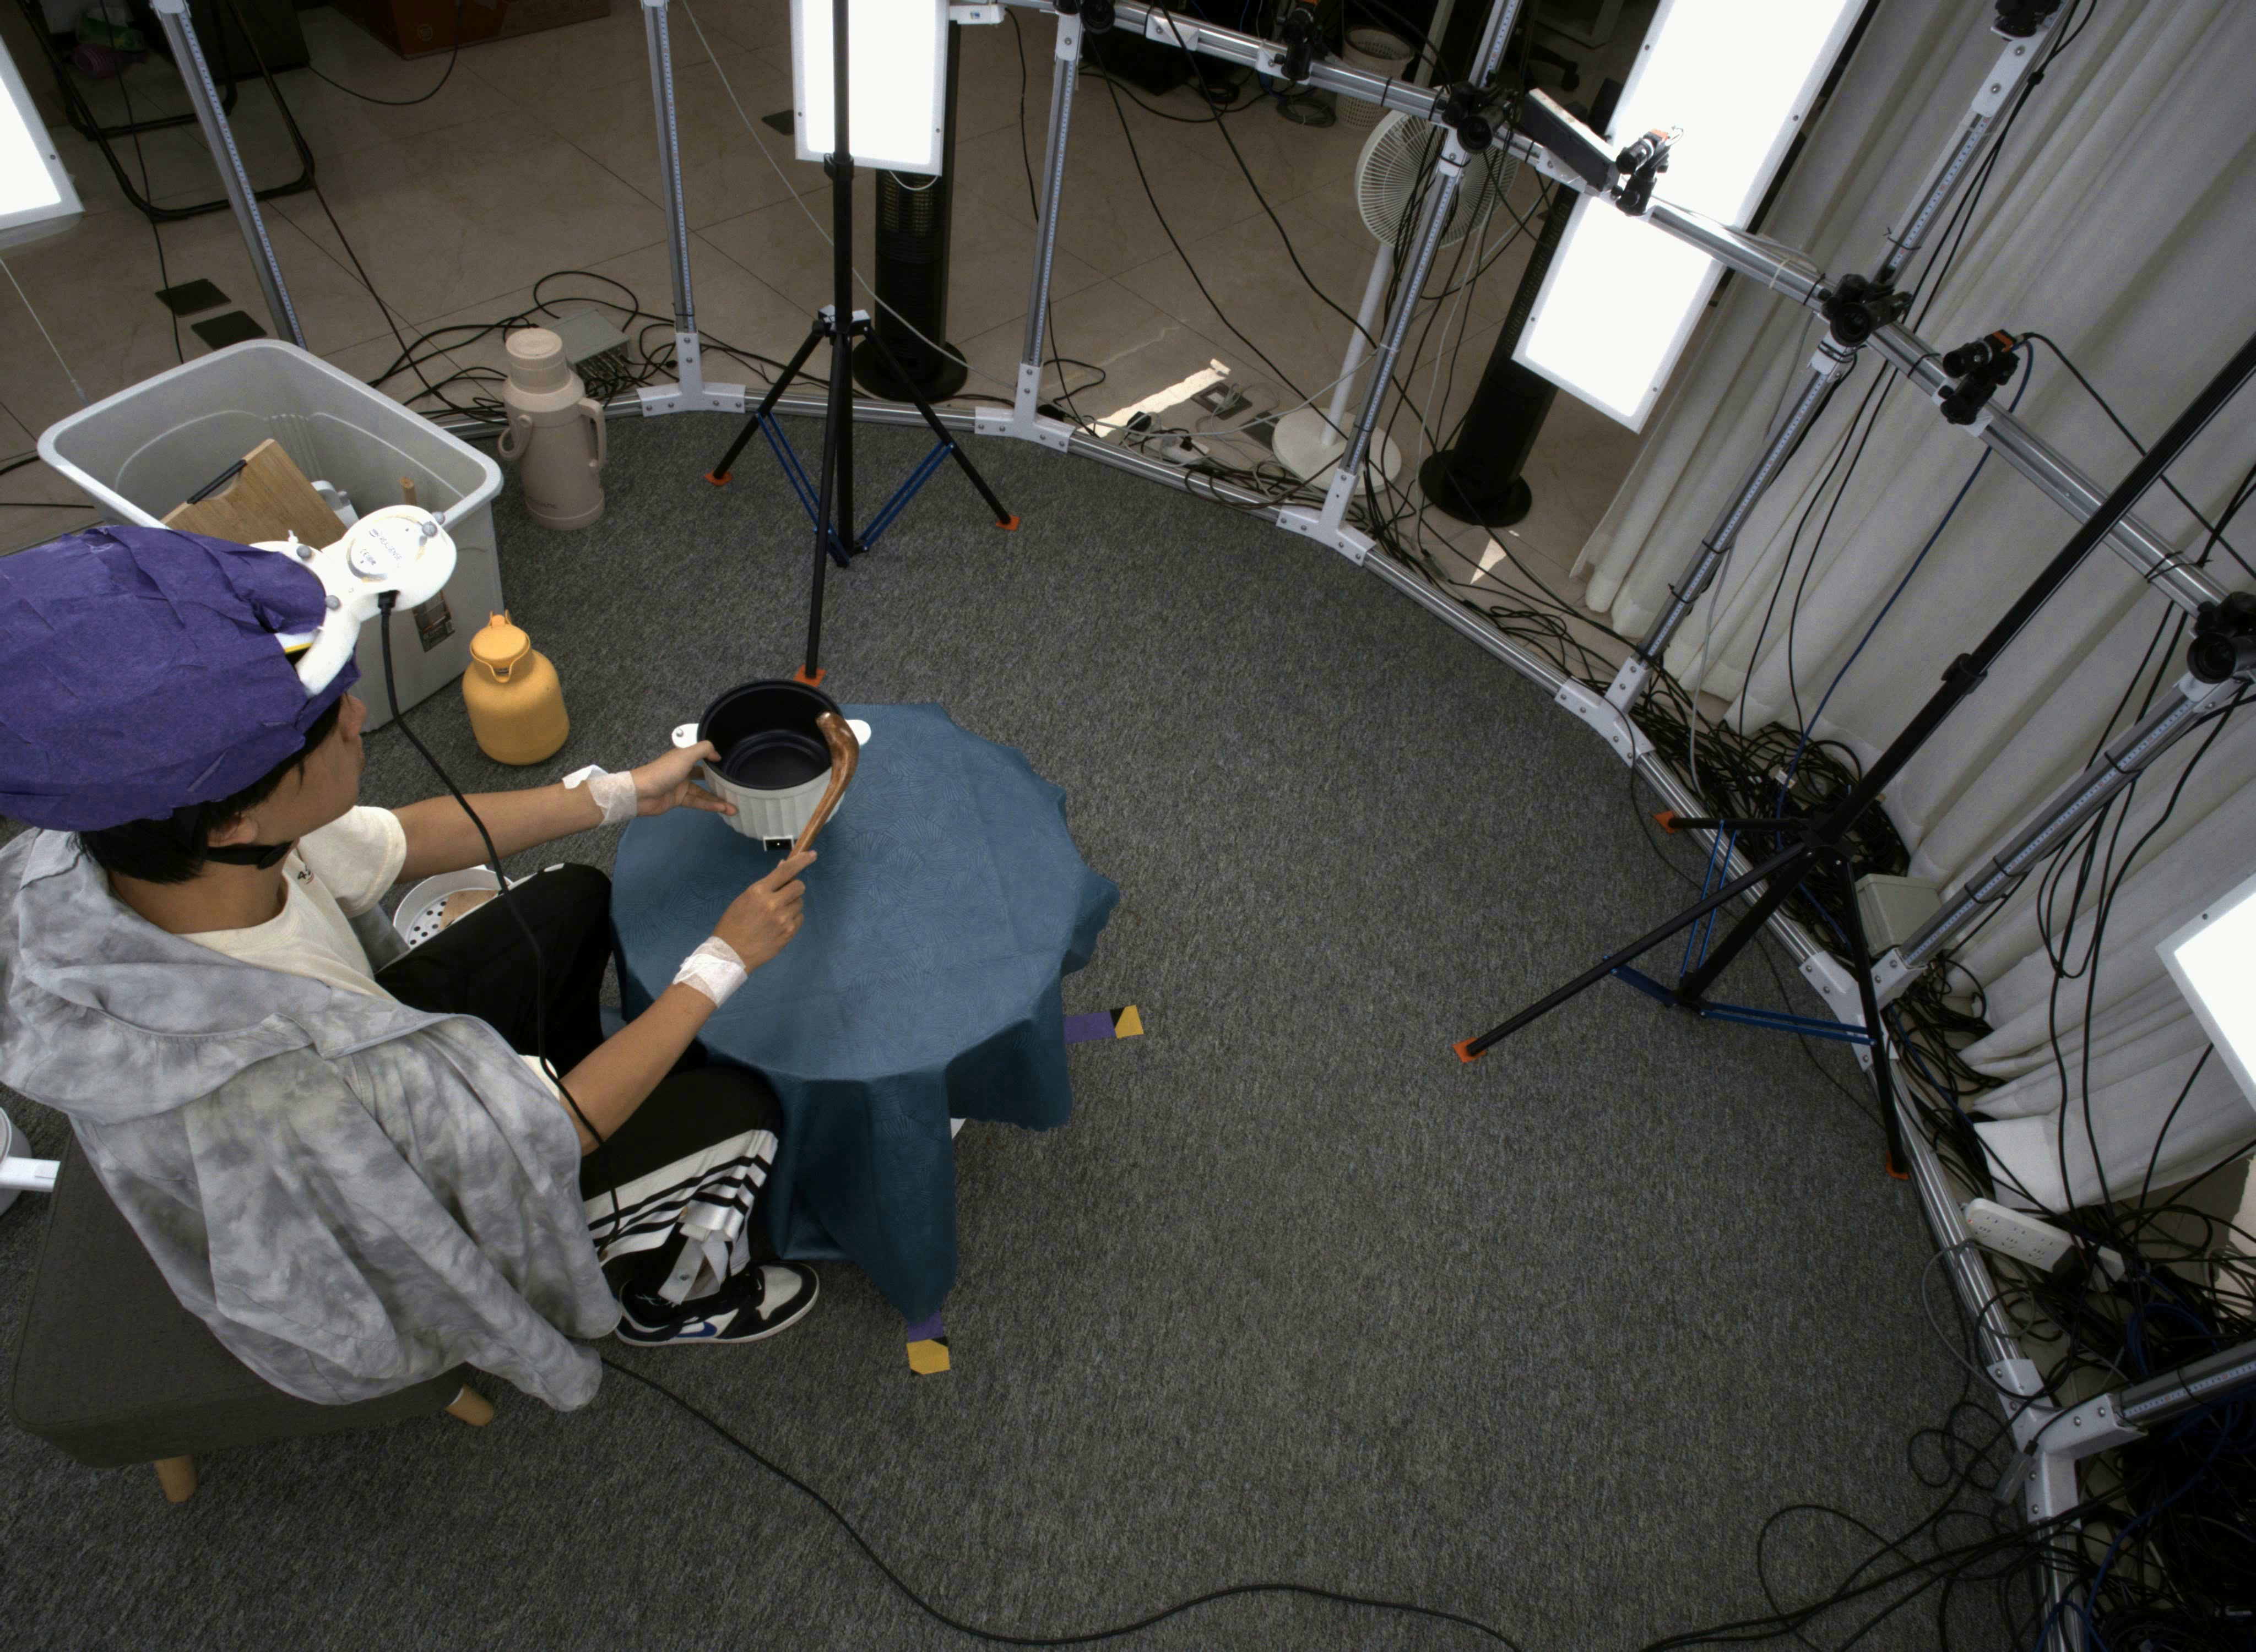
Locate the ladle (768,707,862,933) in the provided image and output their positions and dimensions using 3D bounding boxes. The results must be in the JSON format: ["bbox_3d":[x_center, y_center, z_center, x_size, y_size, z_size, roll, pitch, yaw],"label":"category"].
[{"bbox_3d":[-0.381,-0.013,1.506,0.074,0.084,0.273,14,69,20],"label":"ladle"}]

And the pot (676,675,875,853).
[{"bbox_3d":[-0.442,-0.081,1.641,0.240,0.145,0.187,-2,57,-14],"label":"pot"}]
